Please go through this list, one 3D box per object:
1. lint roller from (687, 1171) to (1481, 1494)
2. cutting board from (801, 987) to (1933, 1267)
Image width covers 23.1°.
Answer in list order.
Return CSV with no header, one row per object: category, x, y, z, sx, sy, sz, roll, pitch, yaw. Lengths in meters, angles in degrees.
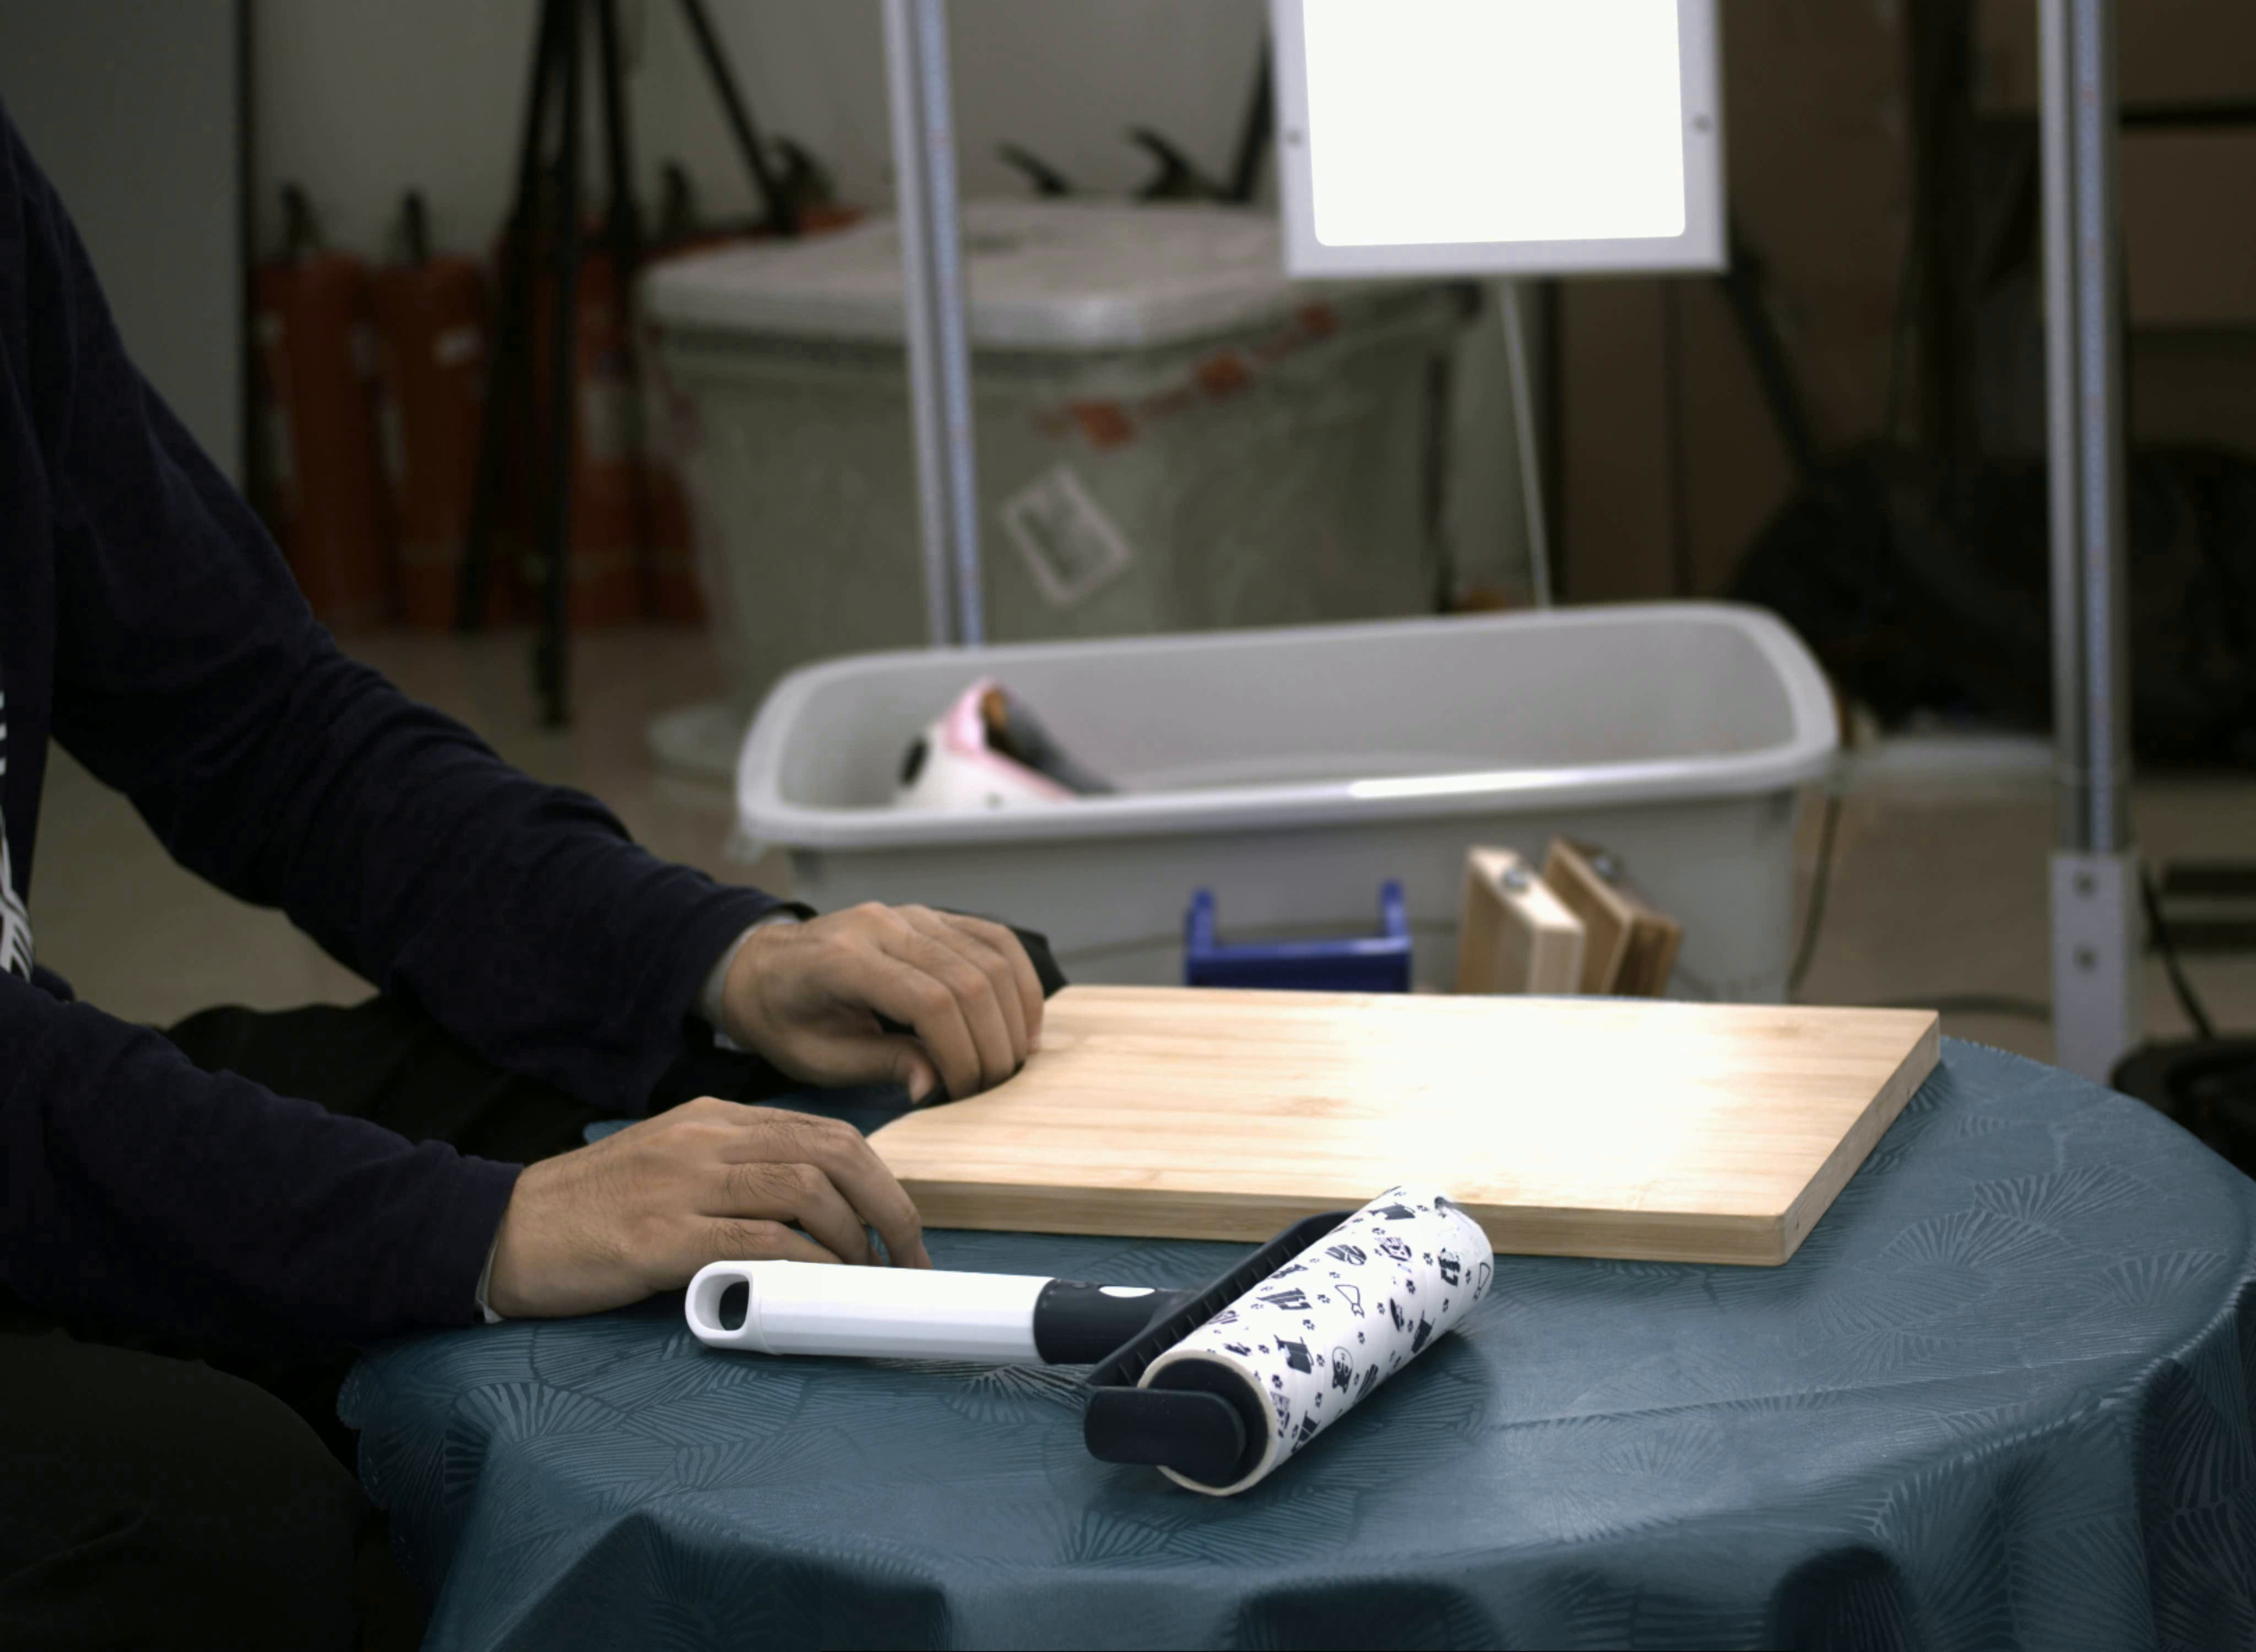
lint roller,-0.033,0.153,1.719,0.251,0.050,0.172,0,16,29
cutting board,0.089,0.102,1.935,0.354,0.023,0.246,0,14,22
